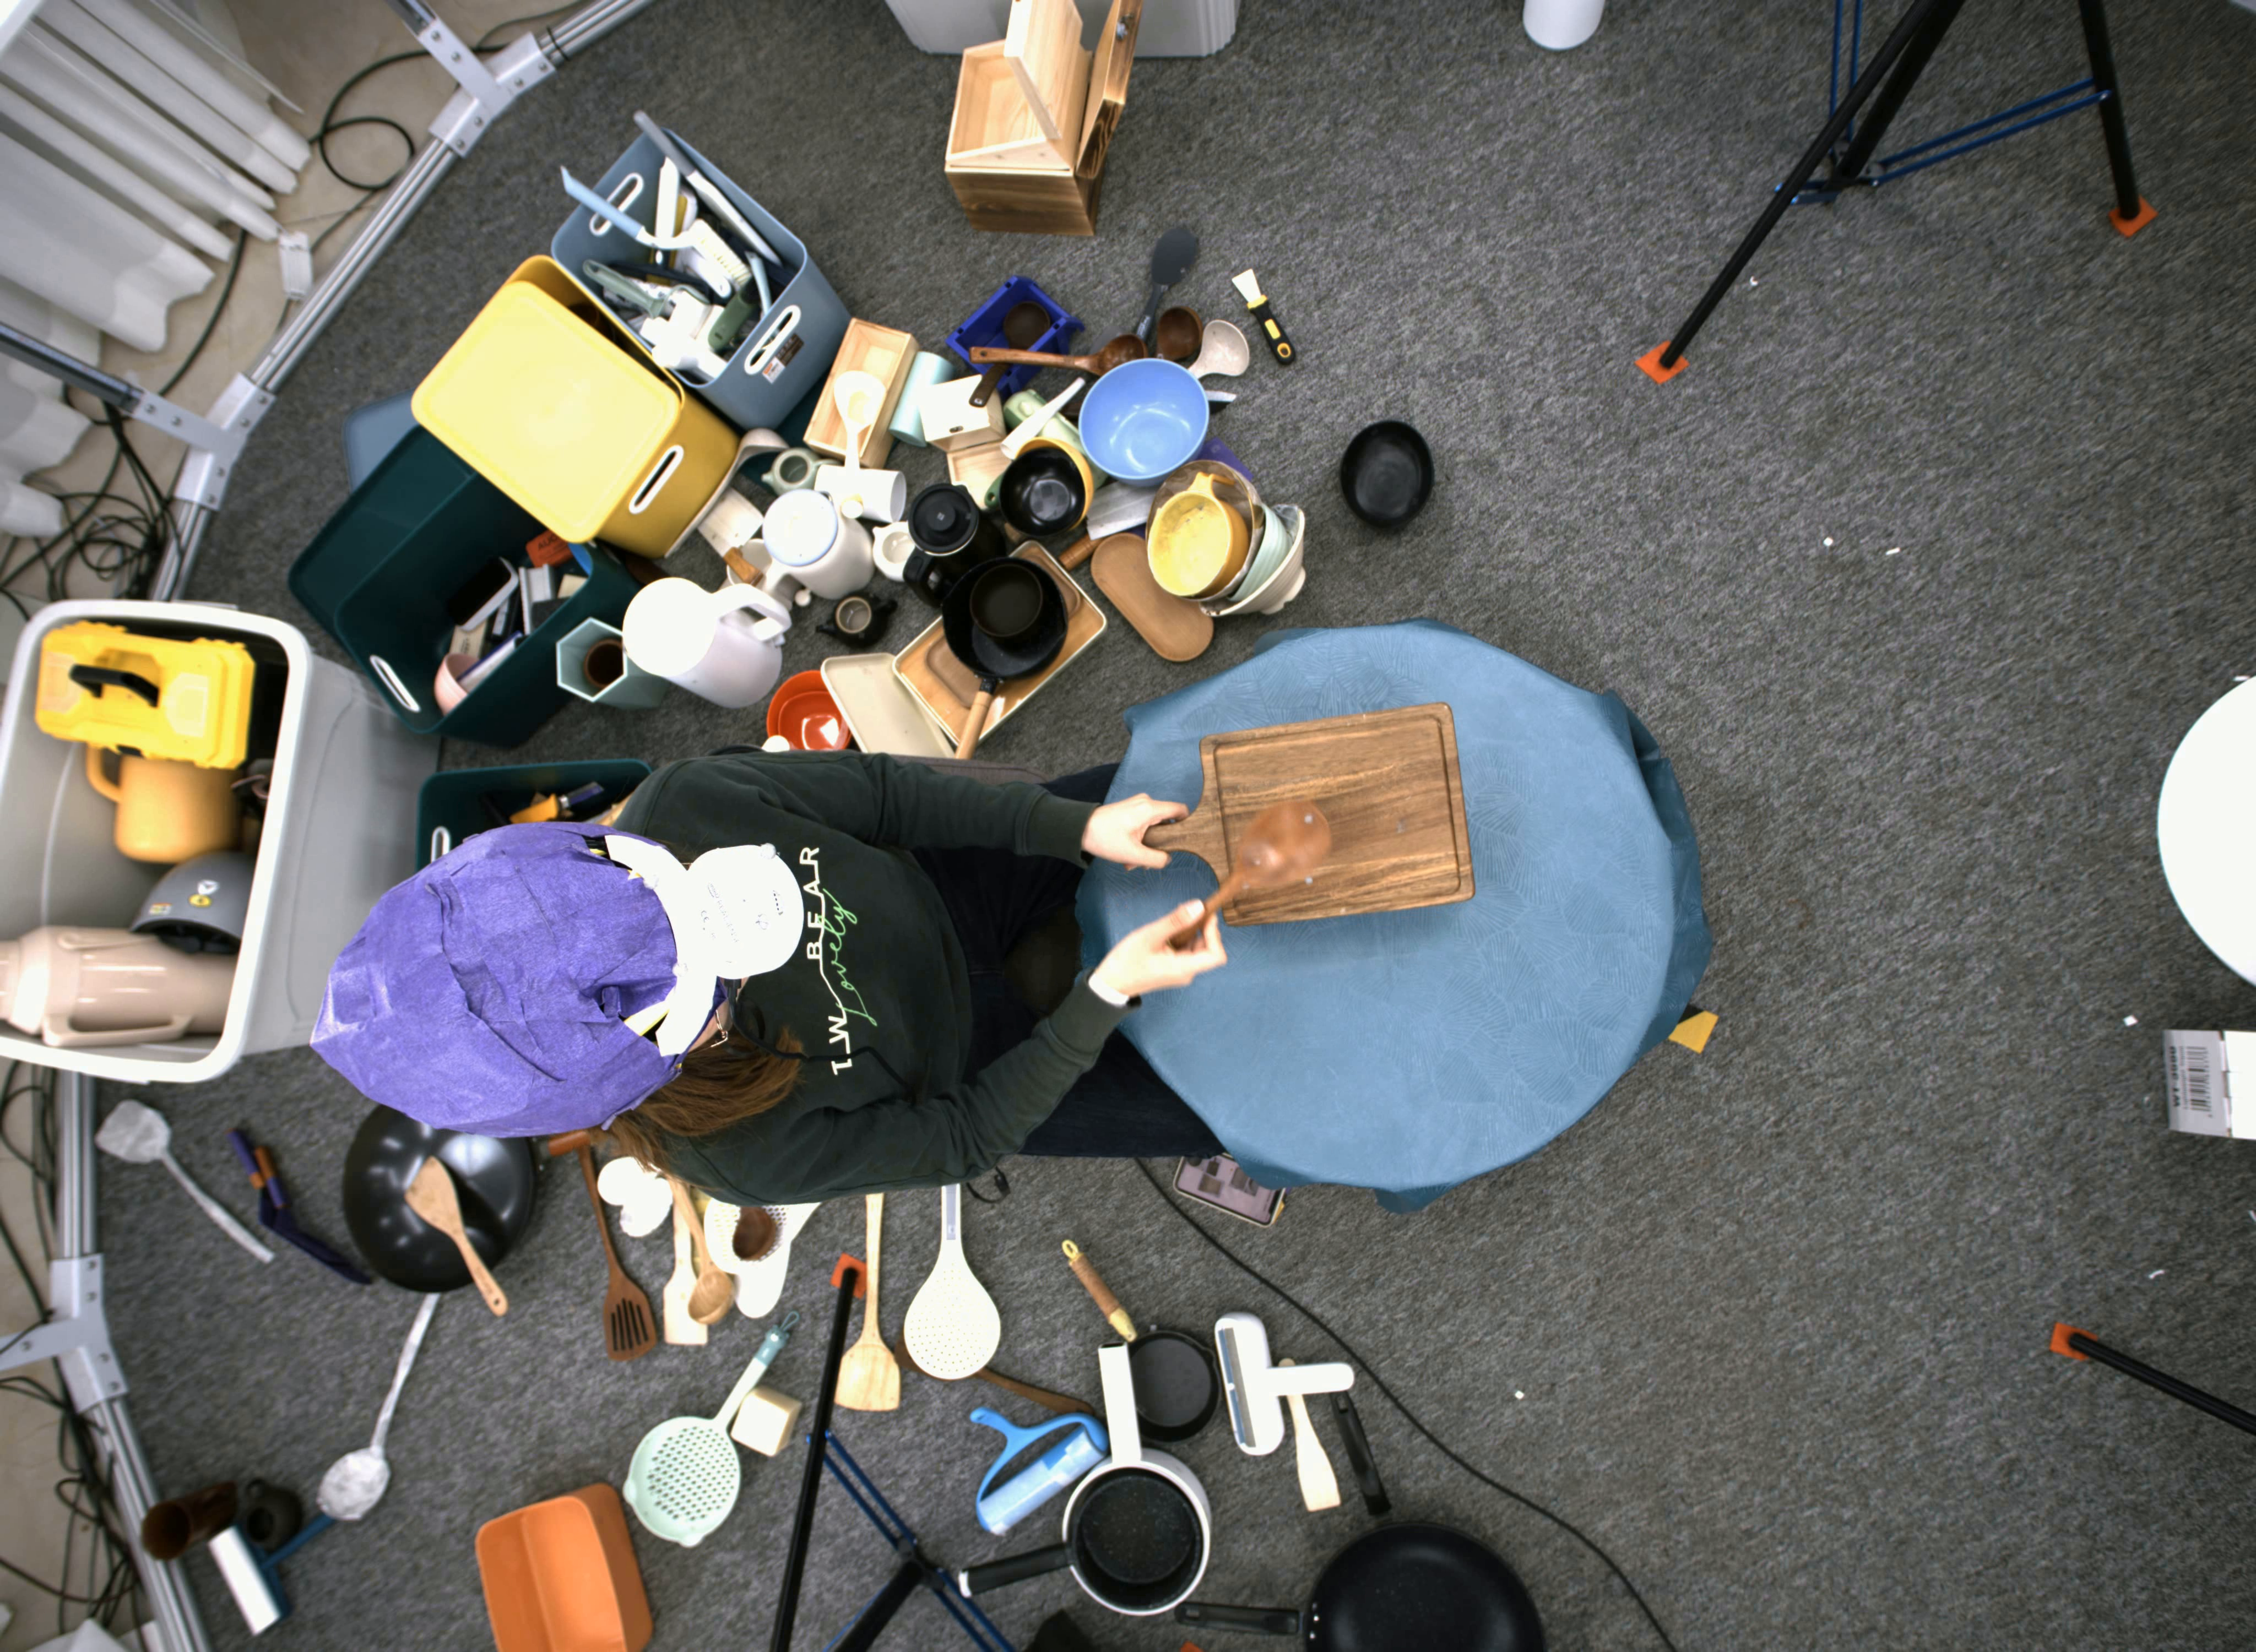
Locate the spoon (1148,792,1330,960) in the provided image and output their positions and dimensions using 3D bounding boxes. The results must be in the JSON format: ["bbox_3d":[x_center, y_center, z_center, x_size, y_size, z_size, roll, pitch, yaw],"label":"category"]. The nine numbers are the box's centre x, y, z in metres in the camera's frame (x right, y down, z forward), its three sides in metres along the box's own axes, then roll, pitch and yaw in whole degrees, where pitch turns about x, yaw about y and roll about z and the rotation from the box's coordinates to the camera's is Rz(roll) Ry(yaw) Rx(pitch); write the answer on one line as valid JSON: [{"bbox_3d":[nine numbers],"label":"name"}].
[{"bbox_3d":[0.099,0.049,1.293,0.076,0.017,0.219,41,108,-14],"label":"spoon"}]

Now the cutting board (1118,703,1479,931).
[{"bbox_3d":[0.161,-0.002,1.381,0.354,0.023,0.202,-7,97,15],"label":"cutting board"}]
